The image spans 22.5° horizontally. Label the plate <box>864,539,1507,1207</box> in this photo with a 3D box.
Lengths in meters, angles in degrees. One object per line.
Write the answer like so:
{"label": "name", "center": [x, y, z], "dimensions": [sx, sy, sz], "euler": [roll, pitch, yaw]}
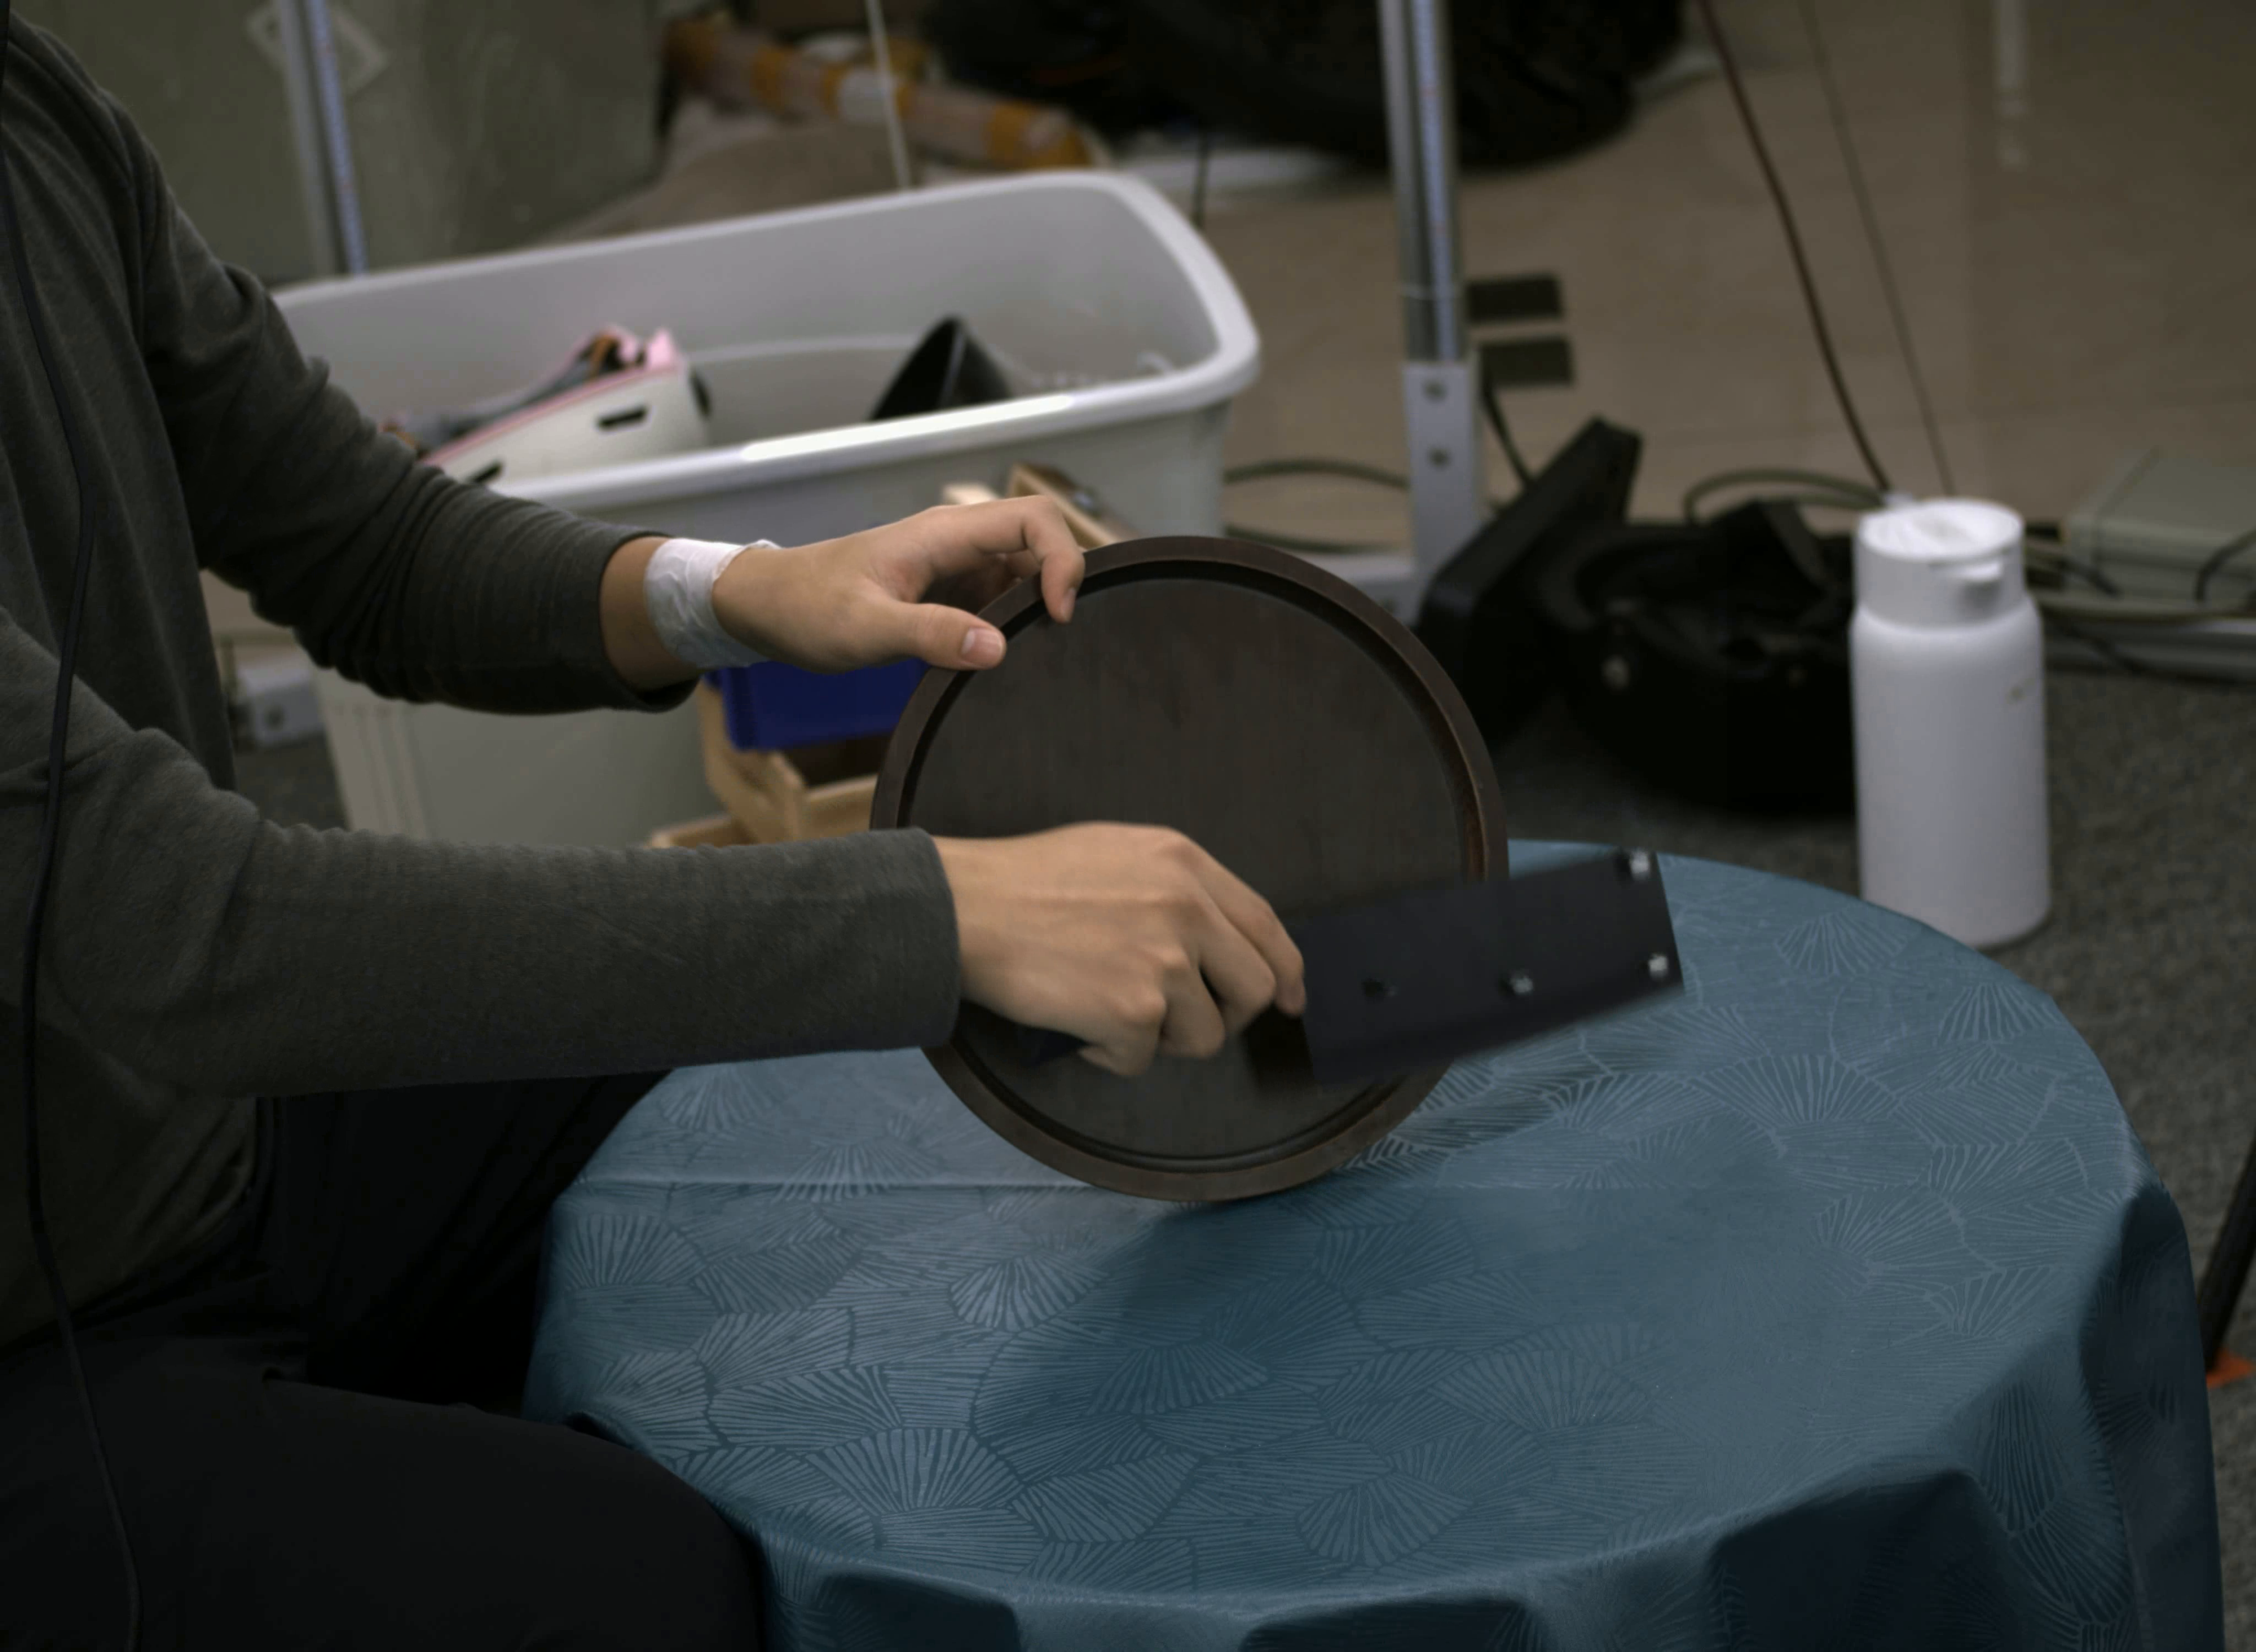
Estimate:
{"label": "plate", "center": [0.022, 0.017, 2.140], "dimensions": [0.254, 0.255, 0.029], "euler": [-14, 3, -17]}

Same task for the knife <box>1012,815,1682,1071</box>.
{"label": "knife", "center": [0.086, 0.052, 2.121], "dimensions": [0.301, 0.081, 0.021], "euler": [-9, -2, -32]}
